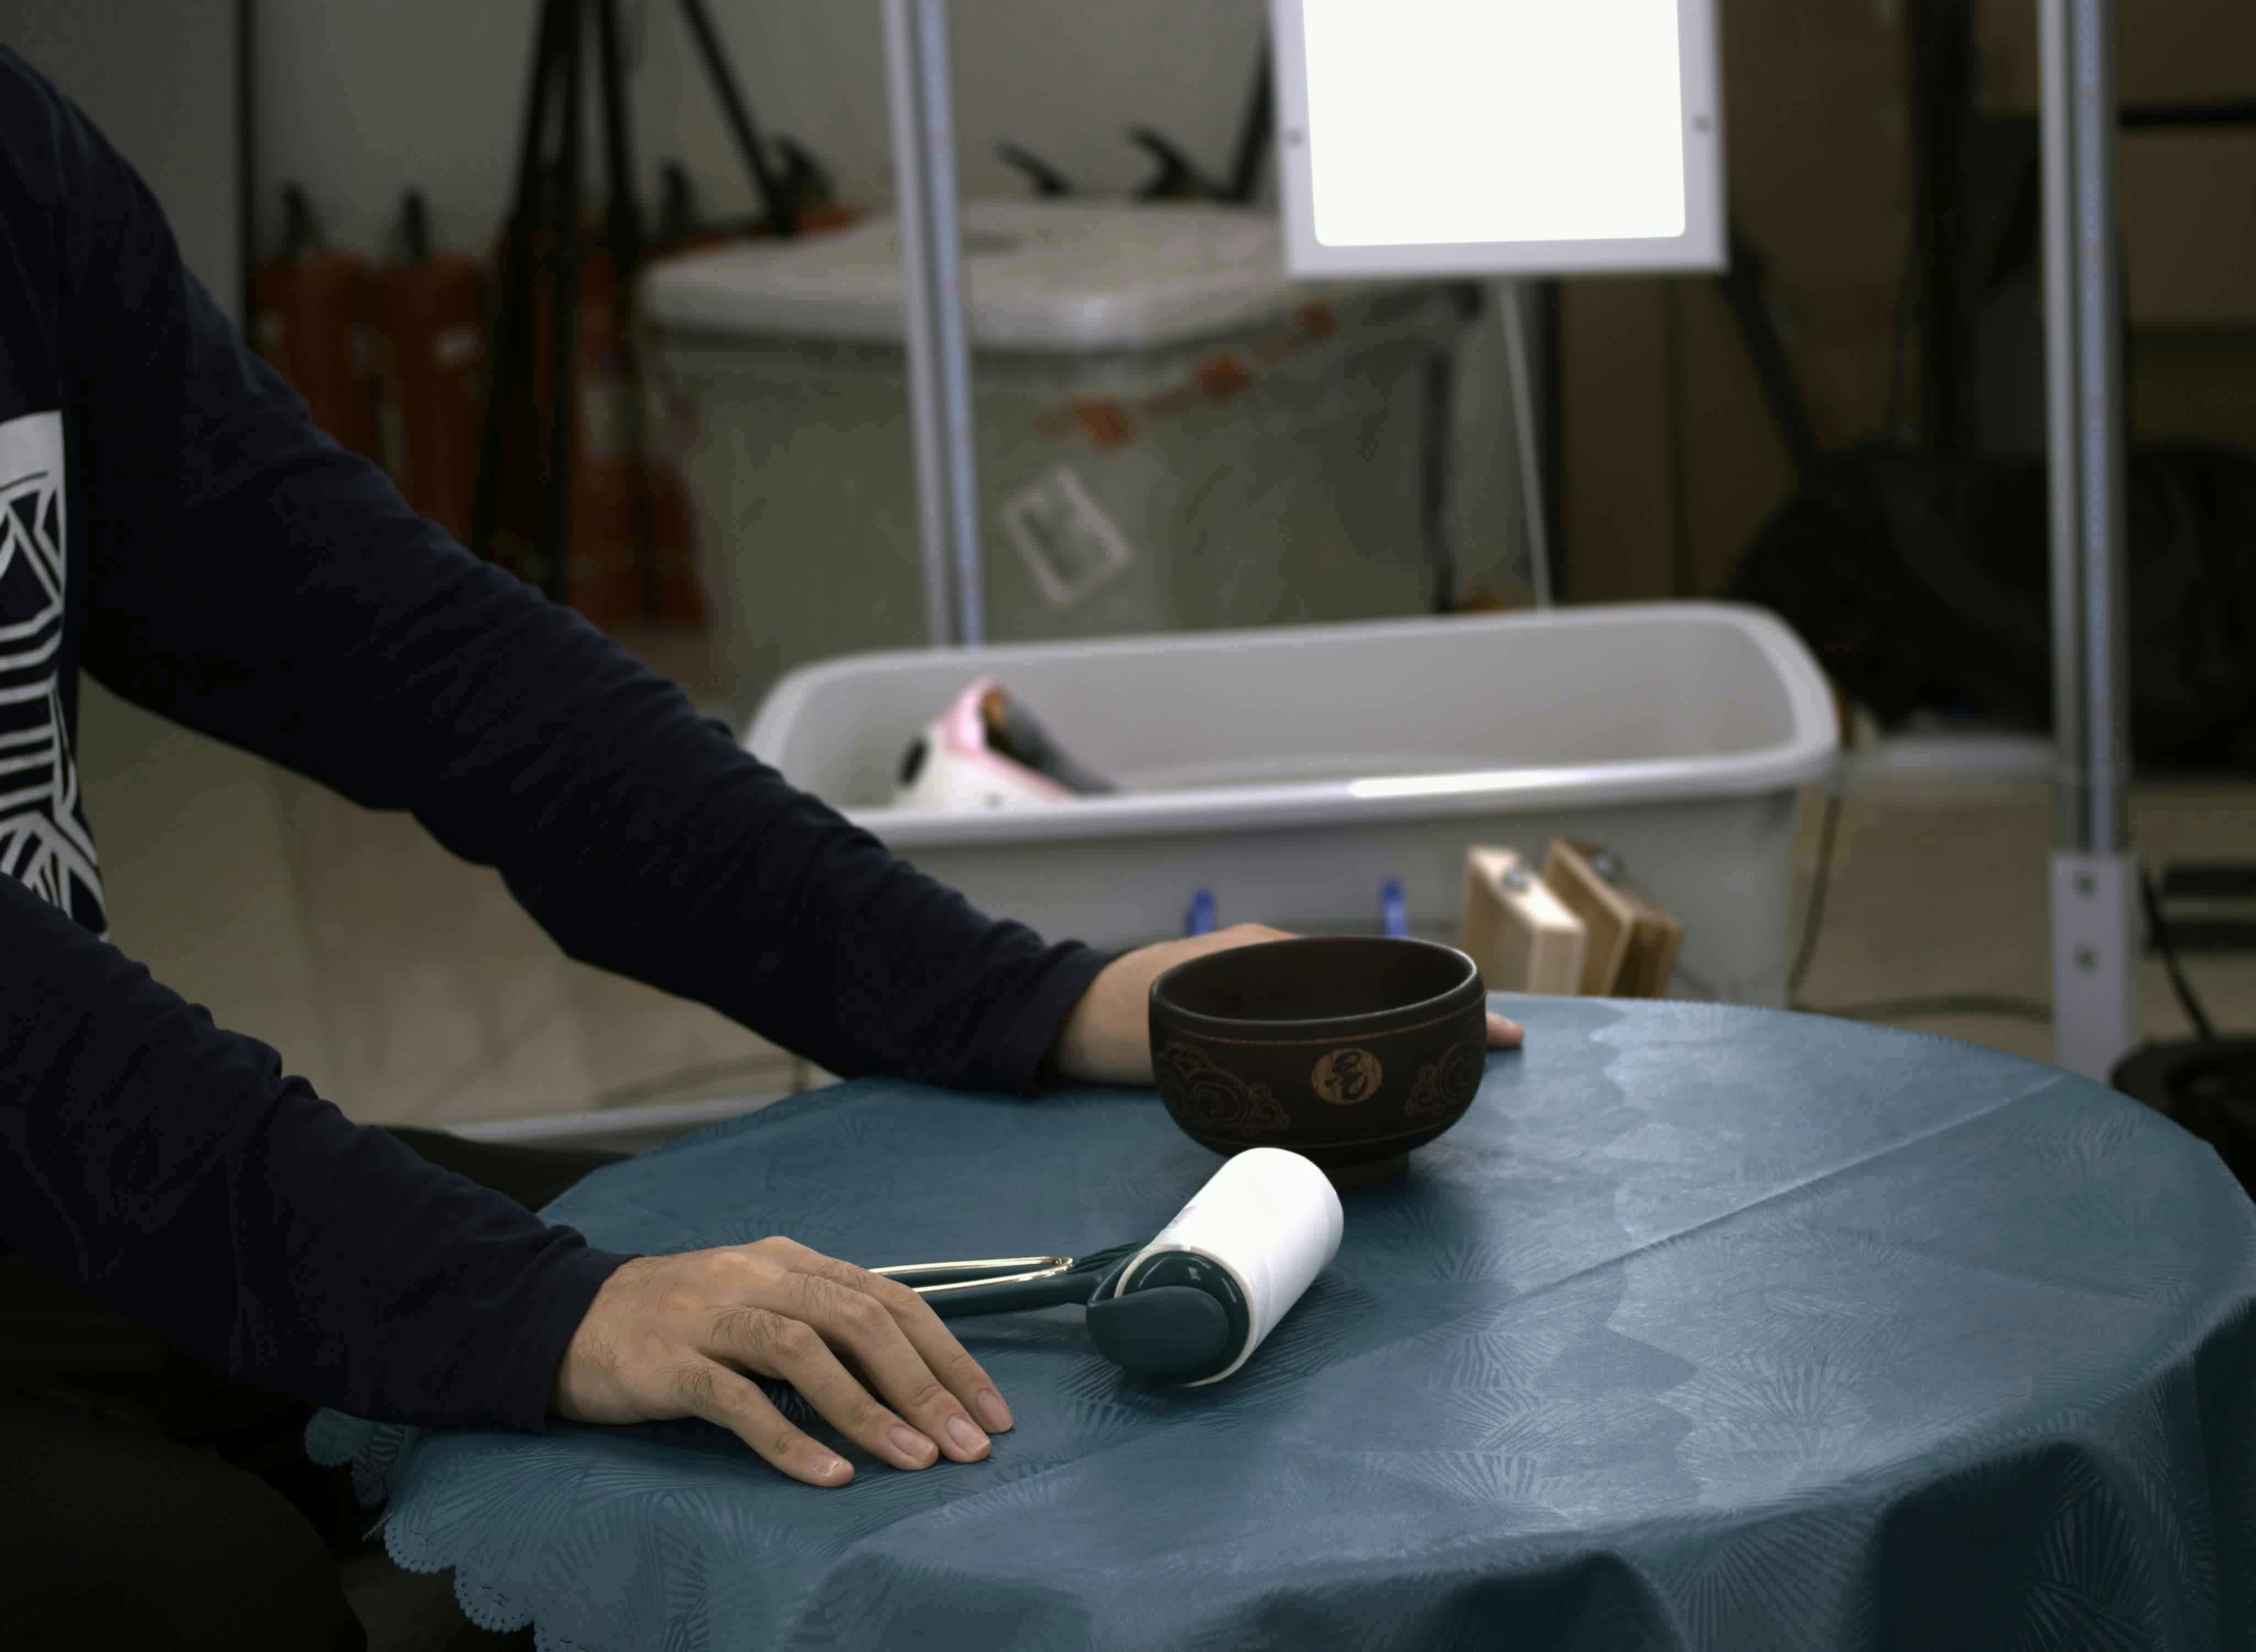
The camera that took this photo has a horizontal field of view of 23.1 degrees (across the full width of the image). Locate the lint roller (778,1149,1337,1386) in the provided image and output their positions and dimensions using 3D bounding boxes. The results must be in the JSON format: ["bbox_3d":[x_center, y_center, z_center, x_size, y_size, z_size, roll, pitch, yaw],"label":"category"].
[{"bbox_3d":[-0.031,0.142,1.766,0.182,0.048,0.132,-3,13,20],"label":"lint roller"}]

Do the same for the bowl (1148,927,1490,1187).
[{"bbox_3d":[0.068,0.083,1.903,0.118,0.070,0.118,-8,15,1],"label":"bowl"}]
